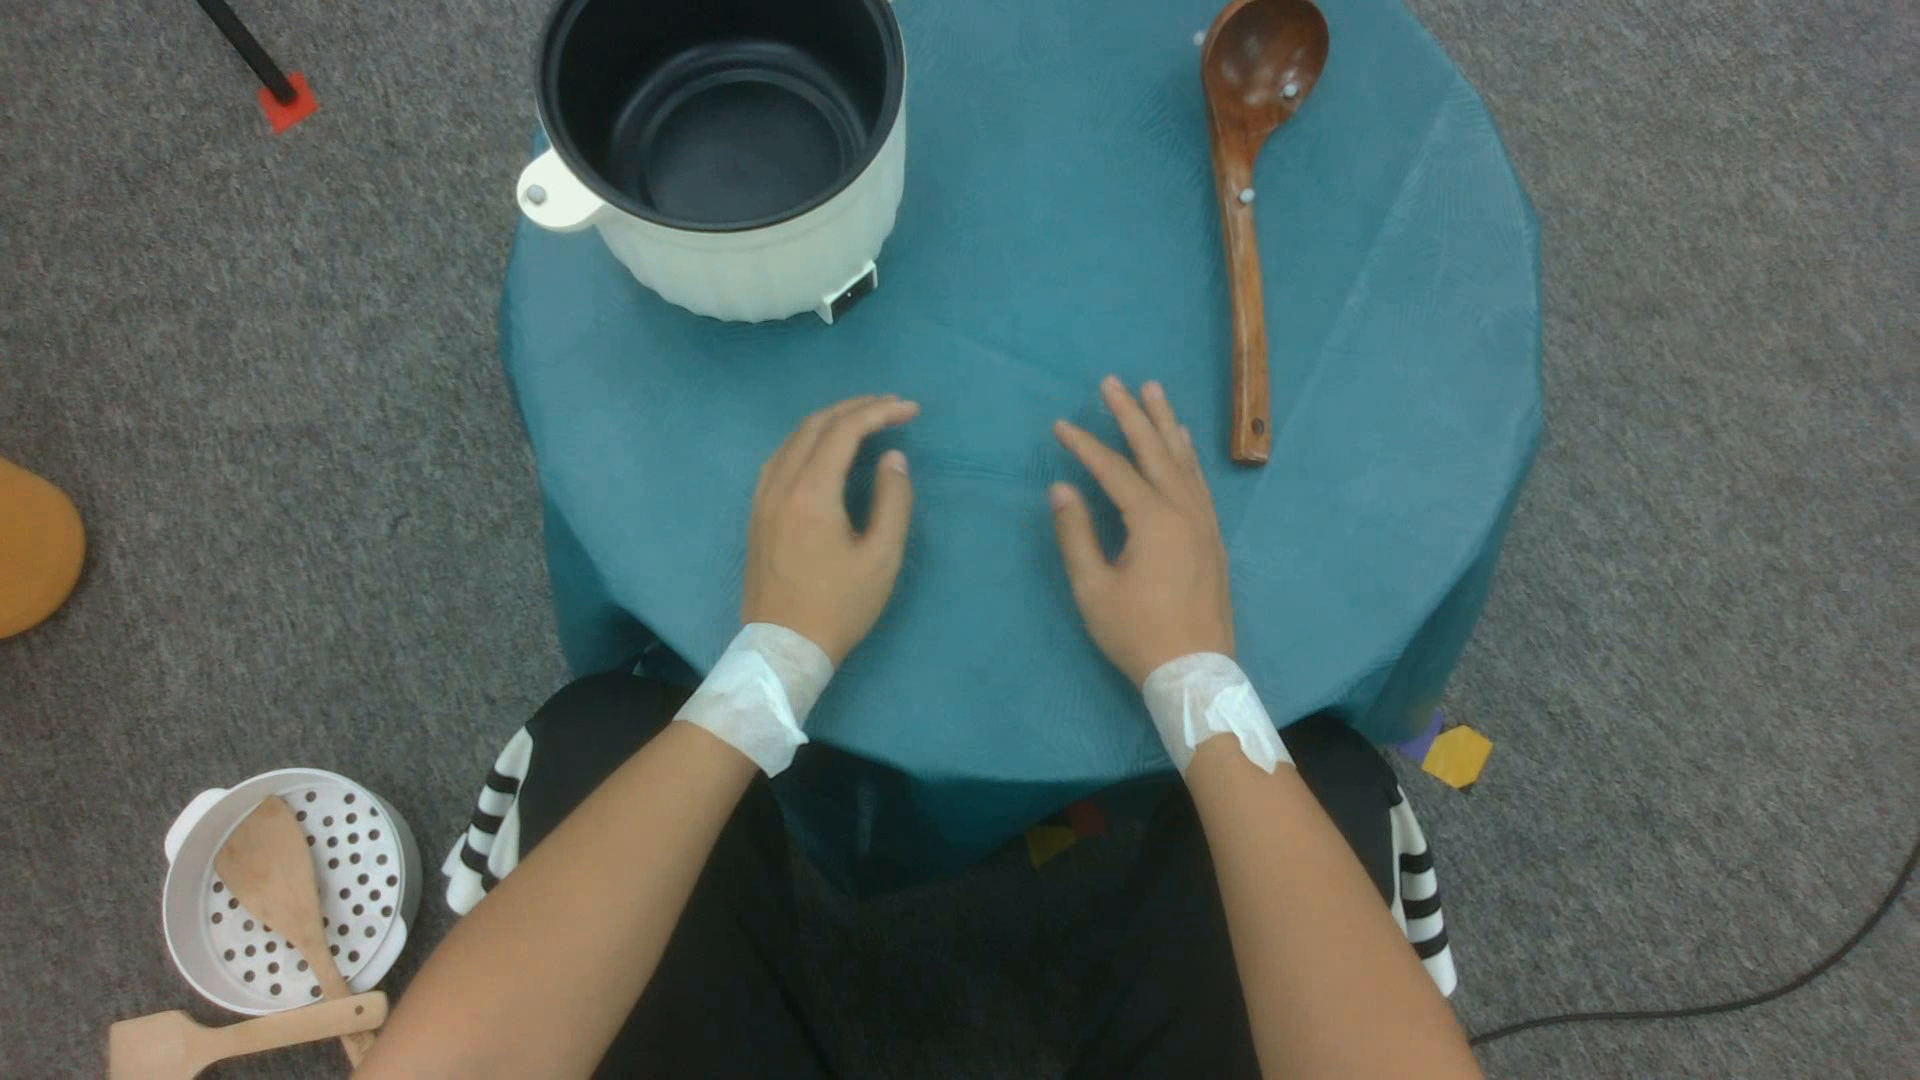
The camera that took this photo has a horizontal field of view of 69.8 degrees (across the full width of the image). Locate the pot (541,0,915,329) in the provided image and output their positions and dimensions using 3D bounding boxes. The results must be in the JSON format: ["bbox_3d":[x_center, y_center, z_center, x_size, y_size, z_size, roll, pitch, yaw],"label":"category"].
[{"bbox_3d":[-0.120,-0.215,0.759,0.241,0.142,0.190,-42,81,-13],"label":"pot"}]

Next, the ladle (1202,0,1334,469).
[{"bbox_3d":[0.179,-0.179,0.786,0.082,0.076,0.275,10,70,-24],"label":"ladle"}]
